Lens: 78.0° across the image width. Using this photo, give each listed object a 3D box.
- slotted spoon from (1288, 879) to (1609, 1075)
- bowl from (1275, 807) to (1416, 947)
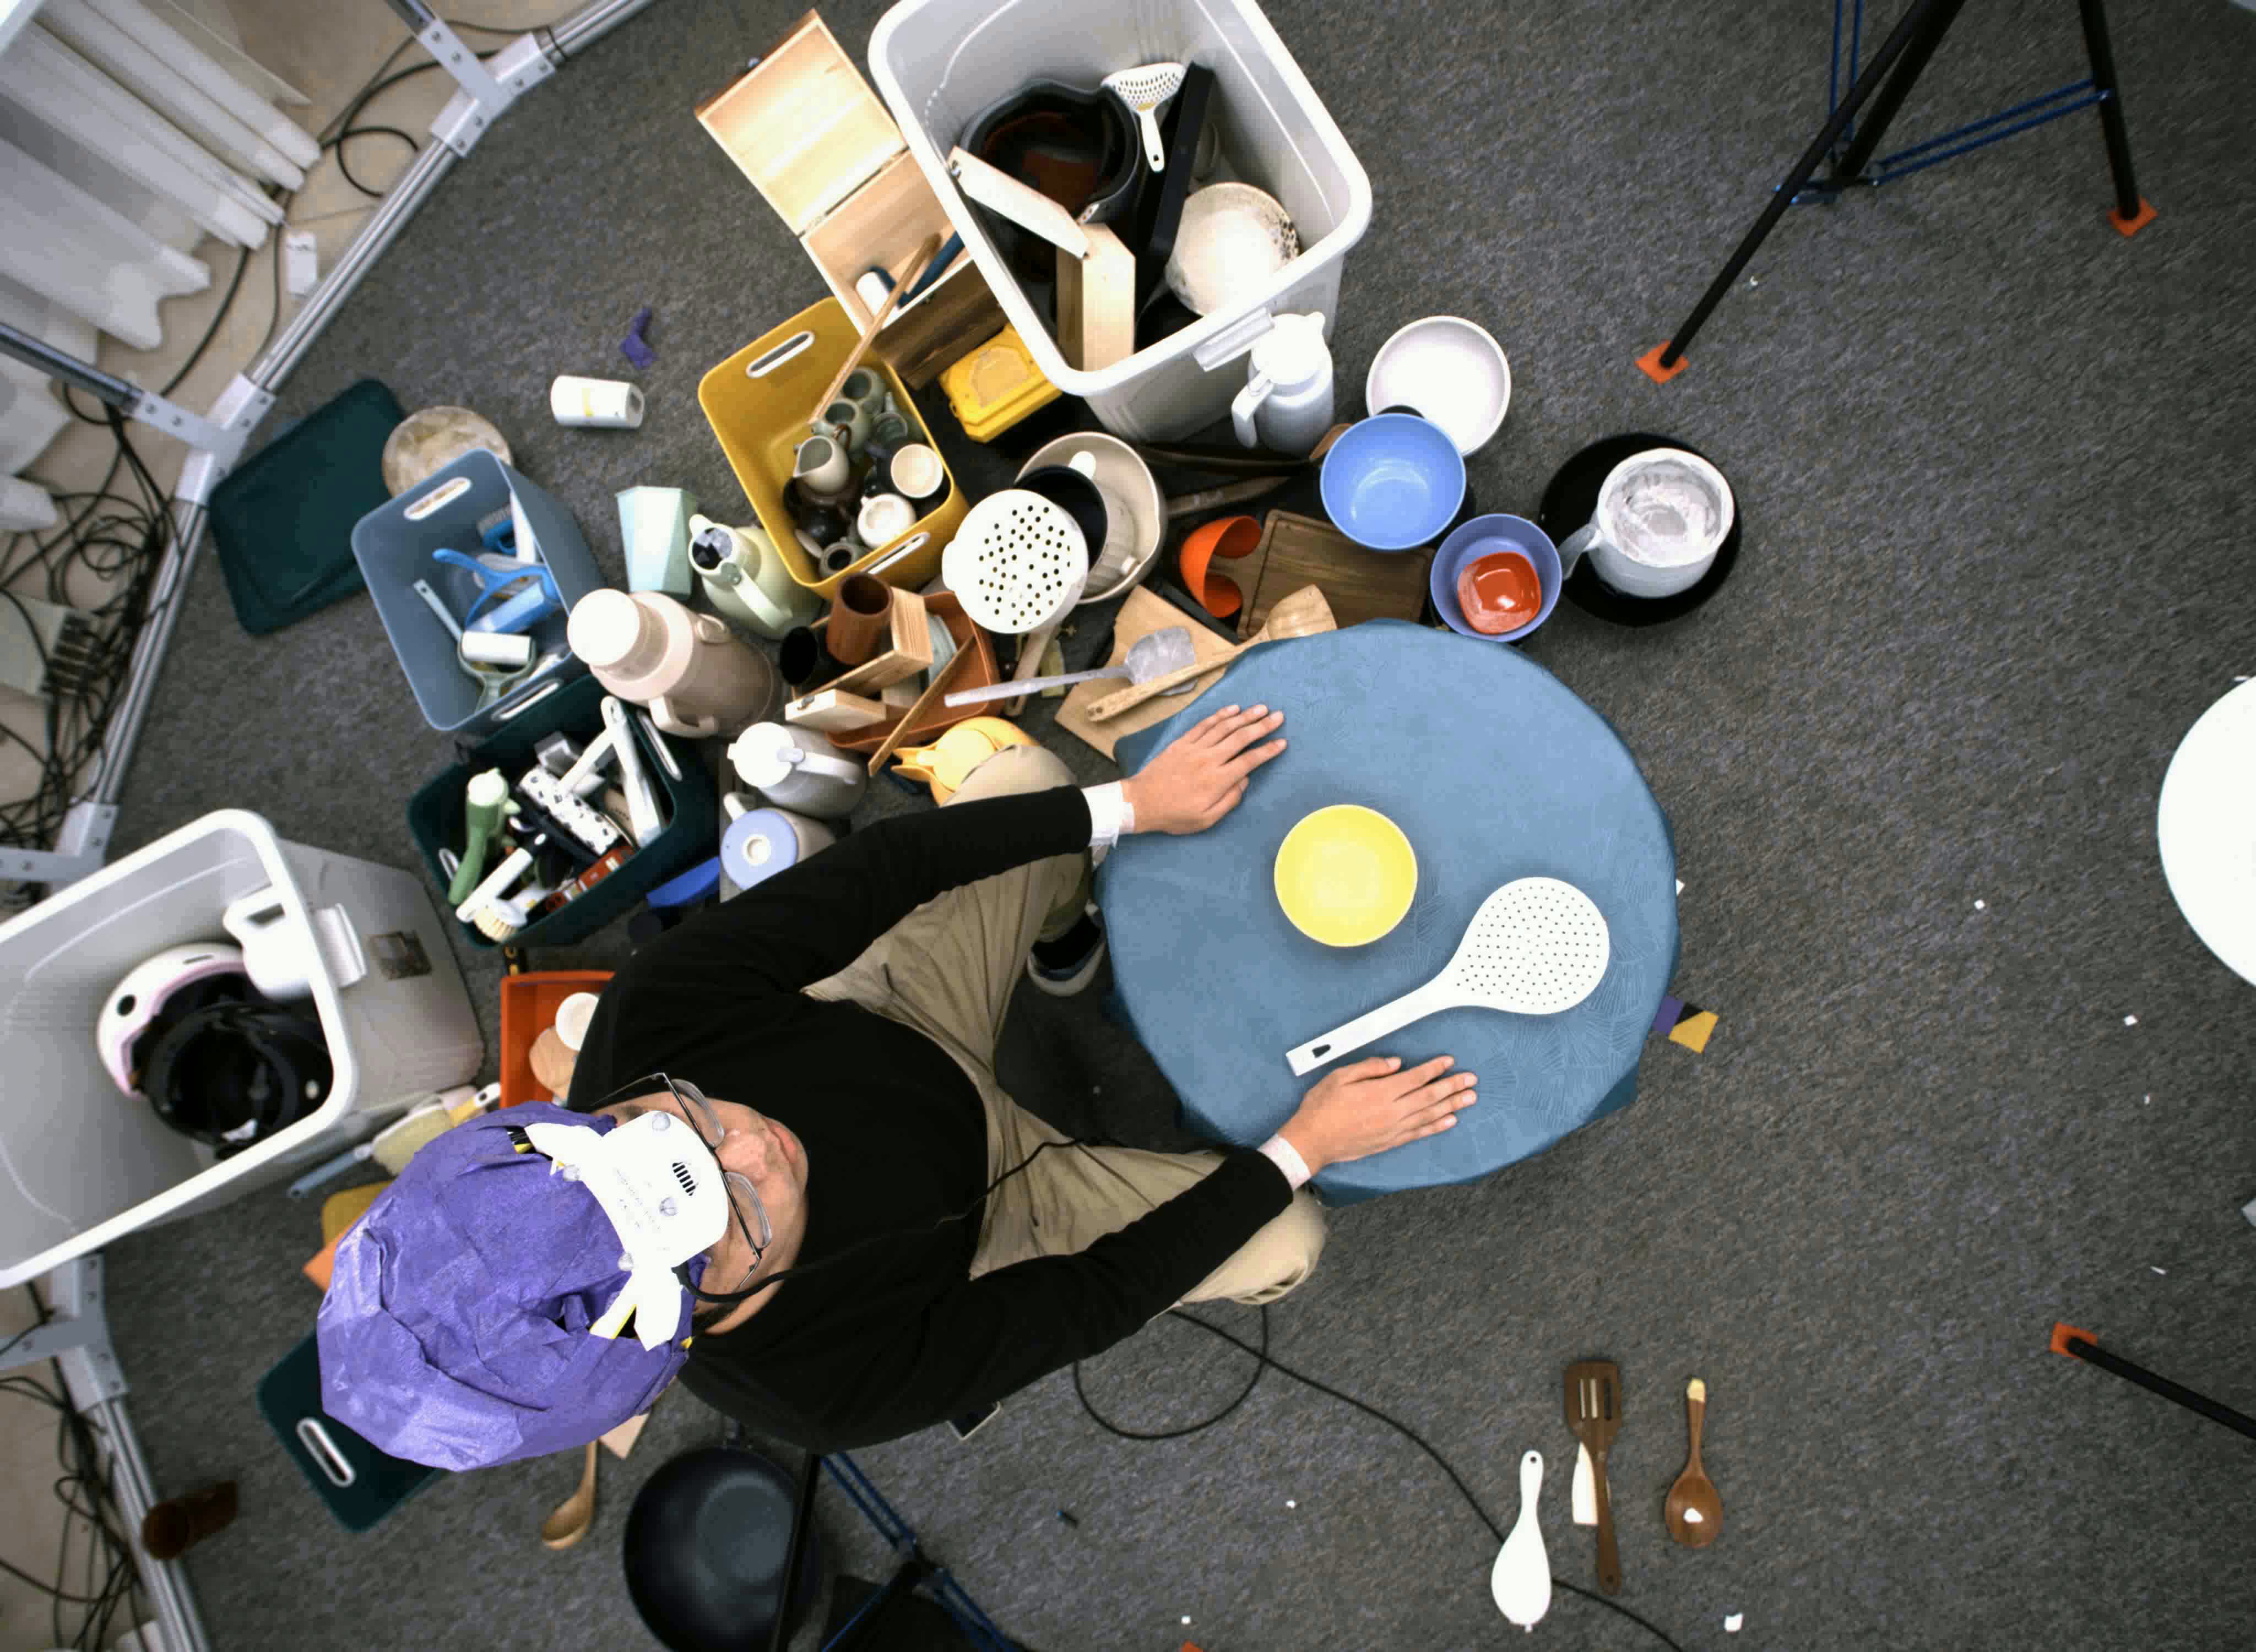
[{"bbox_3d":[0.324,0.170,1.421,0.352,0.046,0.135,-28,81,9],"label":"slotted spoon"},{"bbox_3d":[0.227,0.055,1.441,0.146,0.060,0.144,-1,84,11],"label":"bowl"}]
